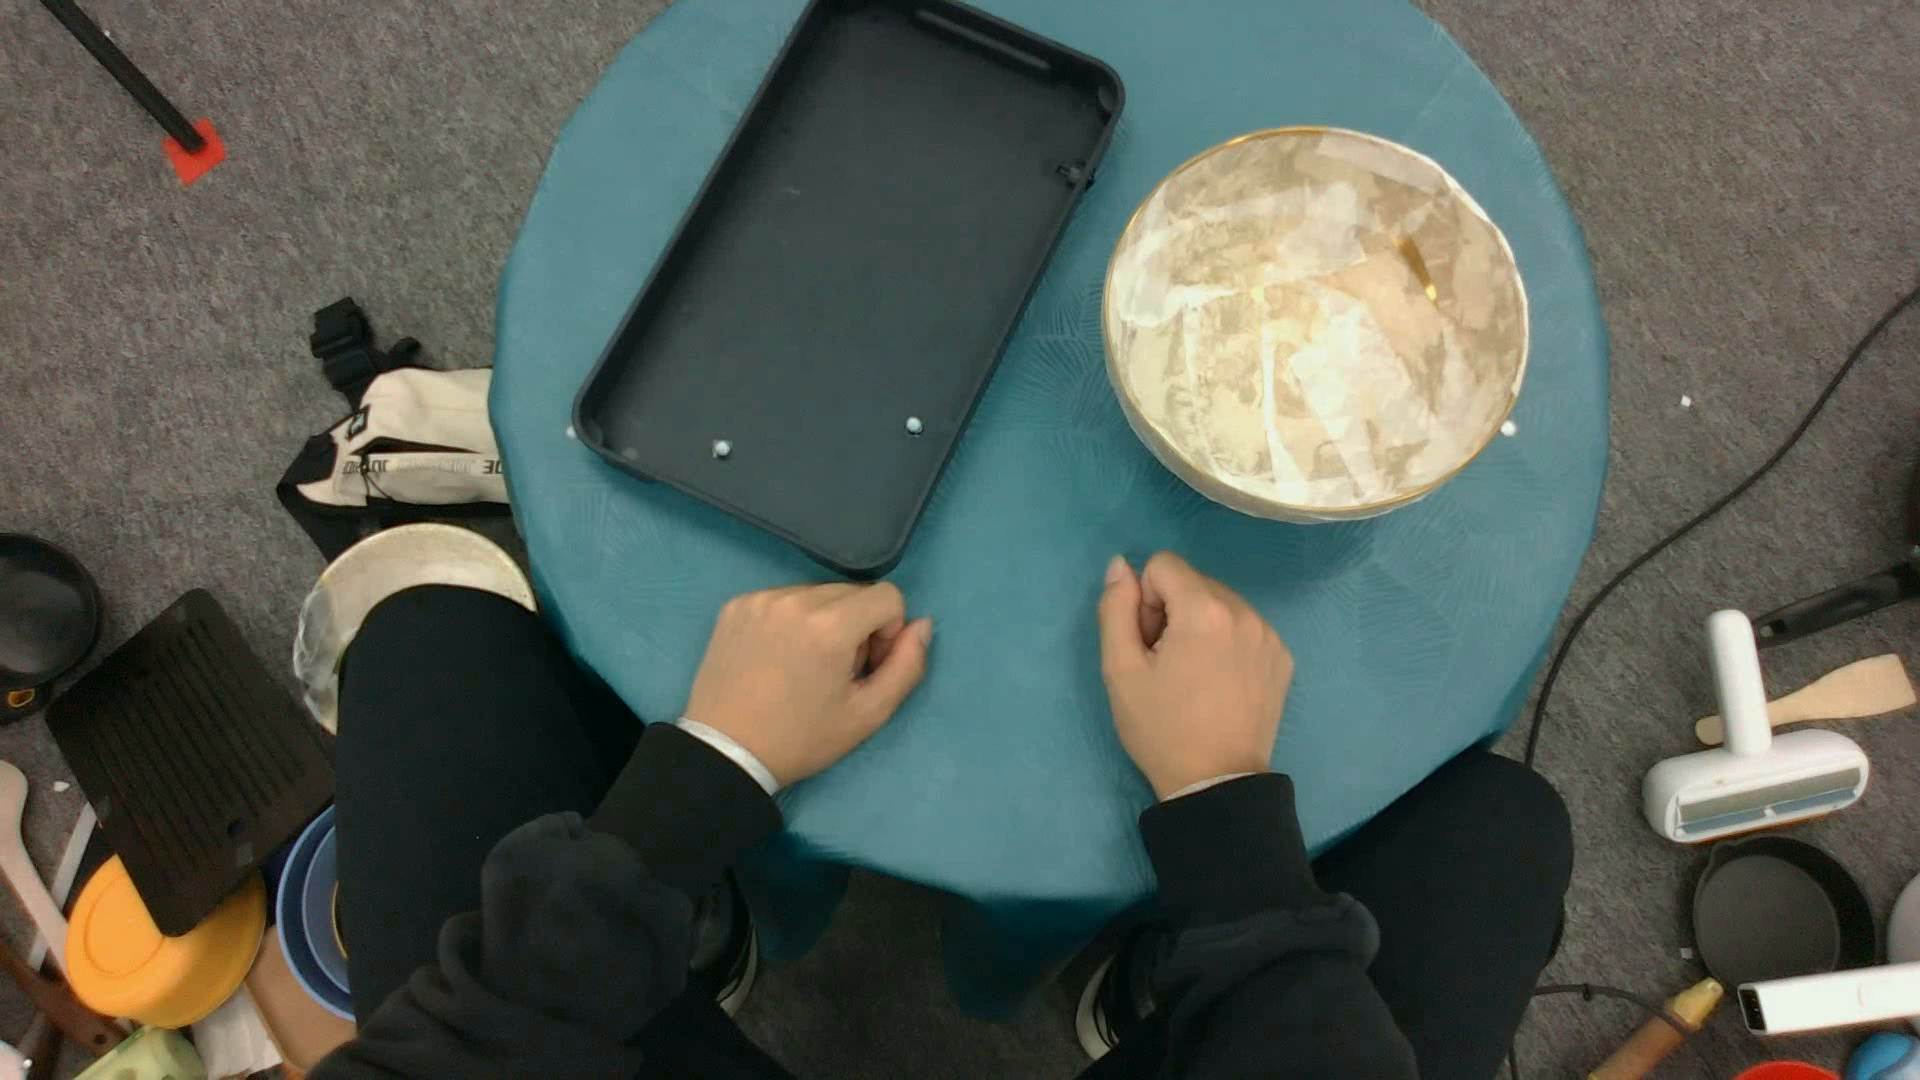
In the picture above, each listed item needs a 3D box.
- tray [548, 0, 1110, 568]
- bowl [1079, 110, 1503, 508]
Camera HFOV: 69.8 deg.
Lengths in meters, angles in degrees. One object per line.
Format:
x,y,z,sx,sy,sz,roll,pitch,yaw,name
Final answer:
-0.063,-0.154,0.737,0.184,0.037,0.319,26,73,6,tray
0.154,-0.104,0.698,0.215,0.094,0.215,1,75,-3,bowl
